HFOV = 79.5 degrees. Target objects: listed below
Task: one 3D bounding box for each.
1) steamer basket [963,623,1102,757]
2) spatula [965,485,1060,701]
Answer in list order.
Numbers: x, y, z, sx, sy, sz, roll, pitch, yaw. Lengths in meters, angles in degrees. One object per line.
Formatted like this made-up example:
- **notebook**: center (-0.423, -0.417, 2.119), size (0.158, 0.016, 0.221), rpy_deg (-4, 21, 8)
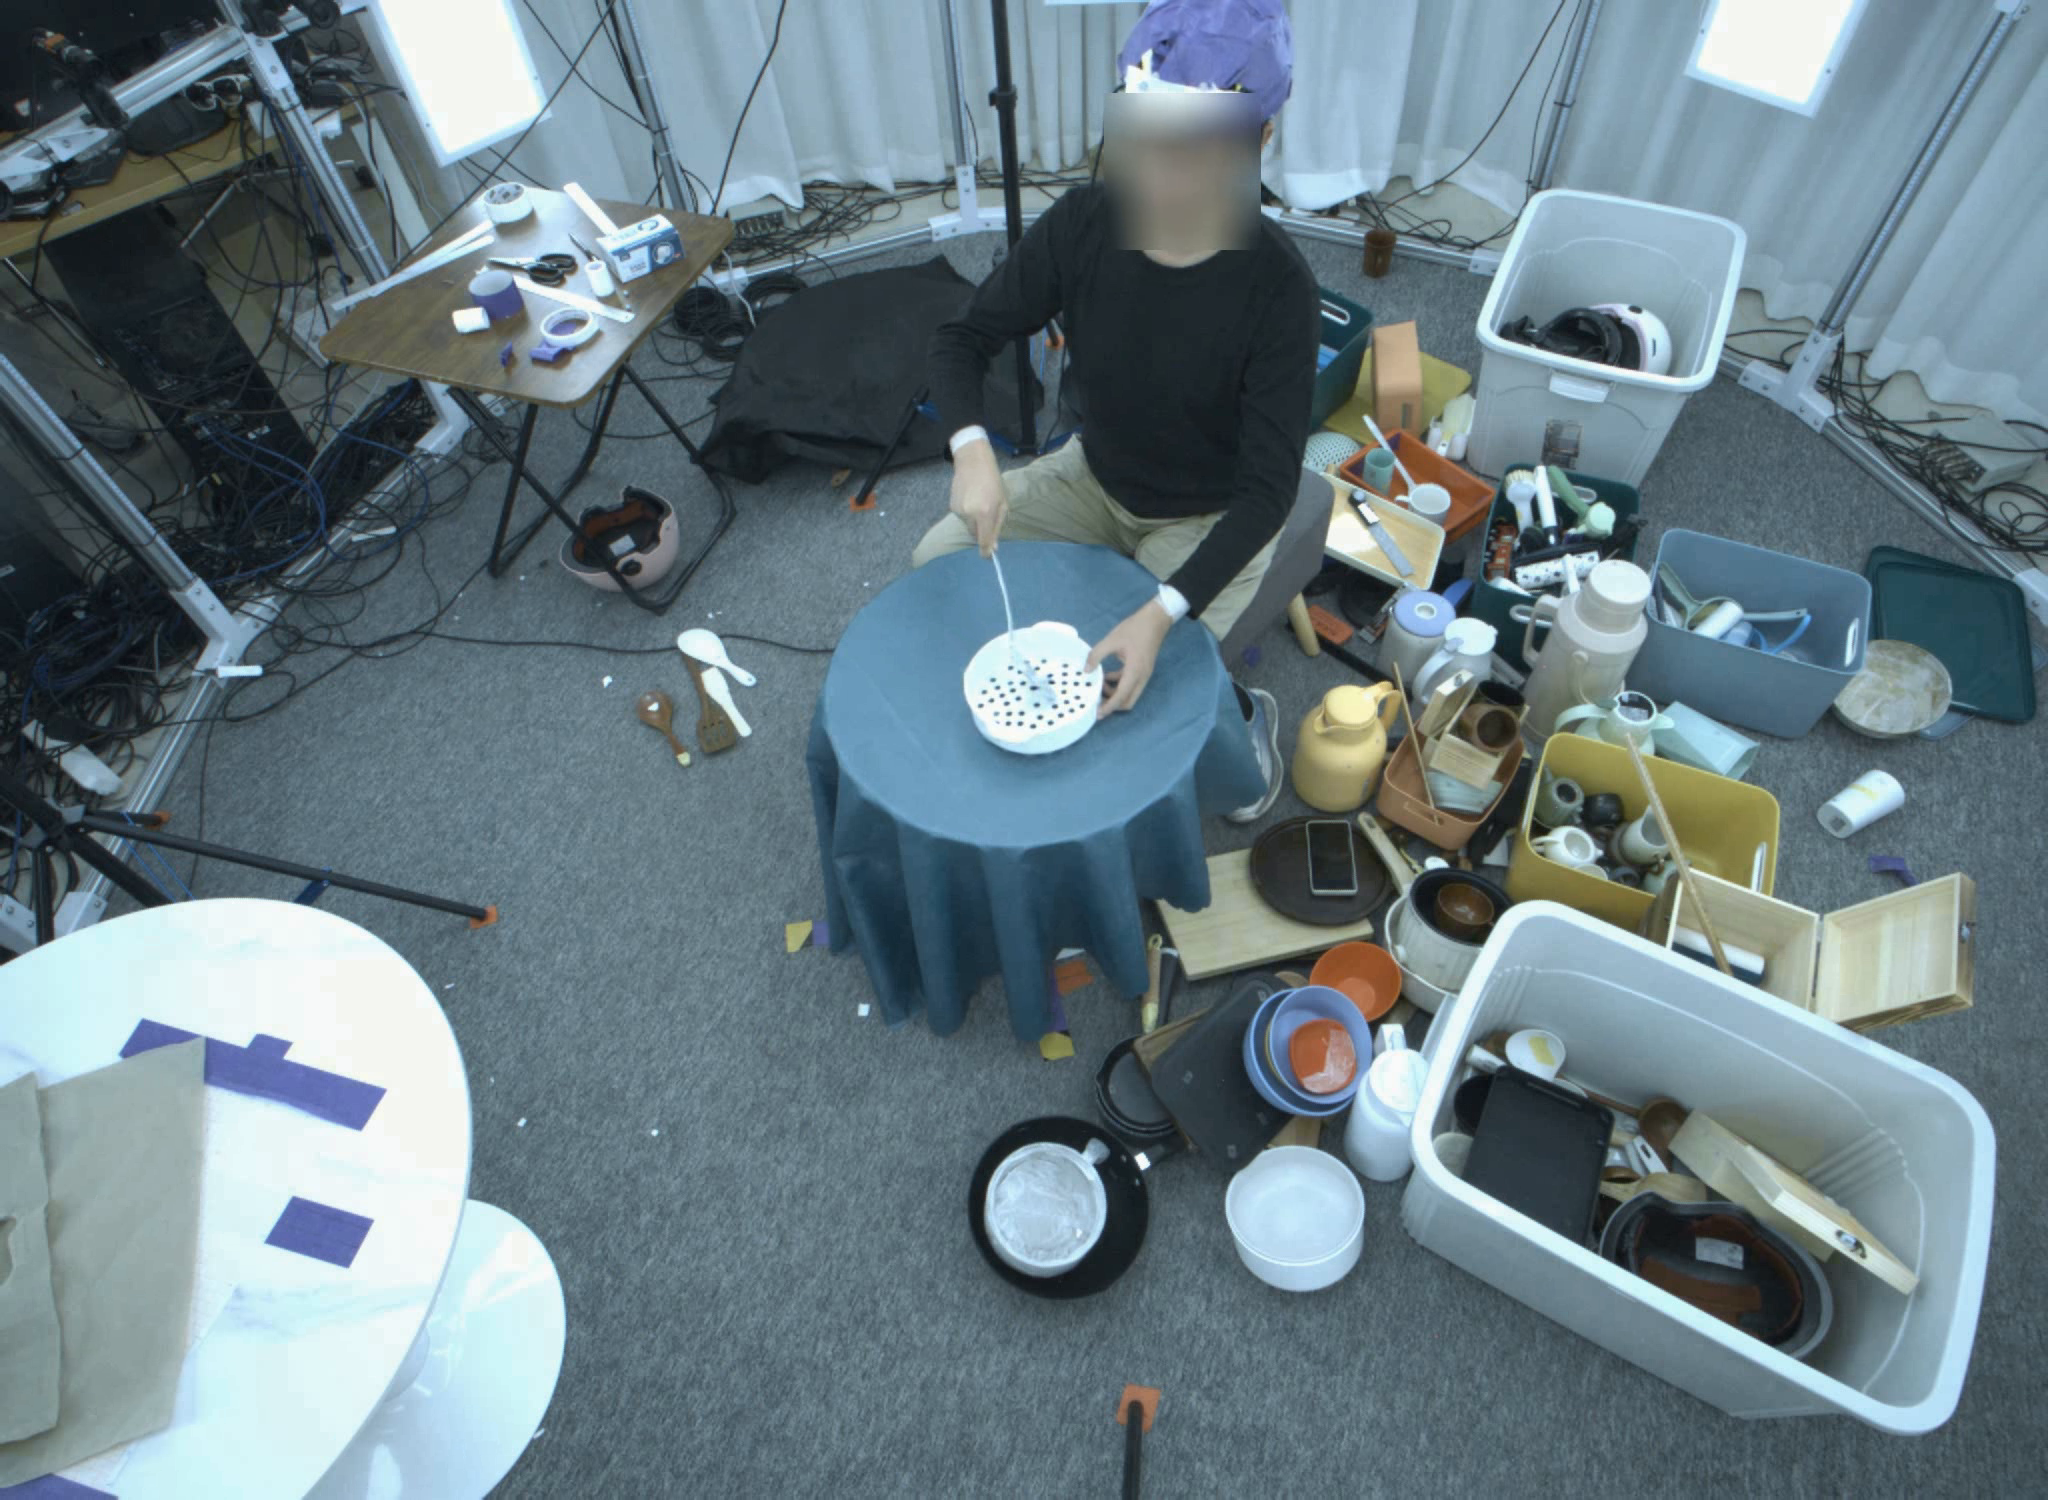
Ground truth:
- **steamer basket**: center (0.014, -0.083, 1.800), size (0.200, 0.070, 0.230), rpy_deg (15, 56, 14)
- **spatula**: center (-0.025, -0.238, 1.813), size (0.044, 0.100, 0.363), rpy_deg (-18, 82, 17)
